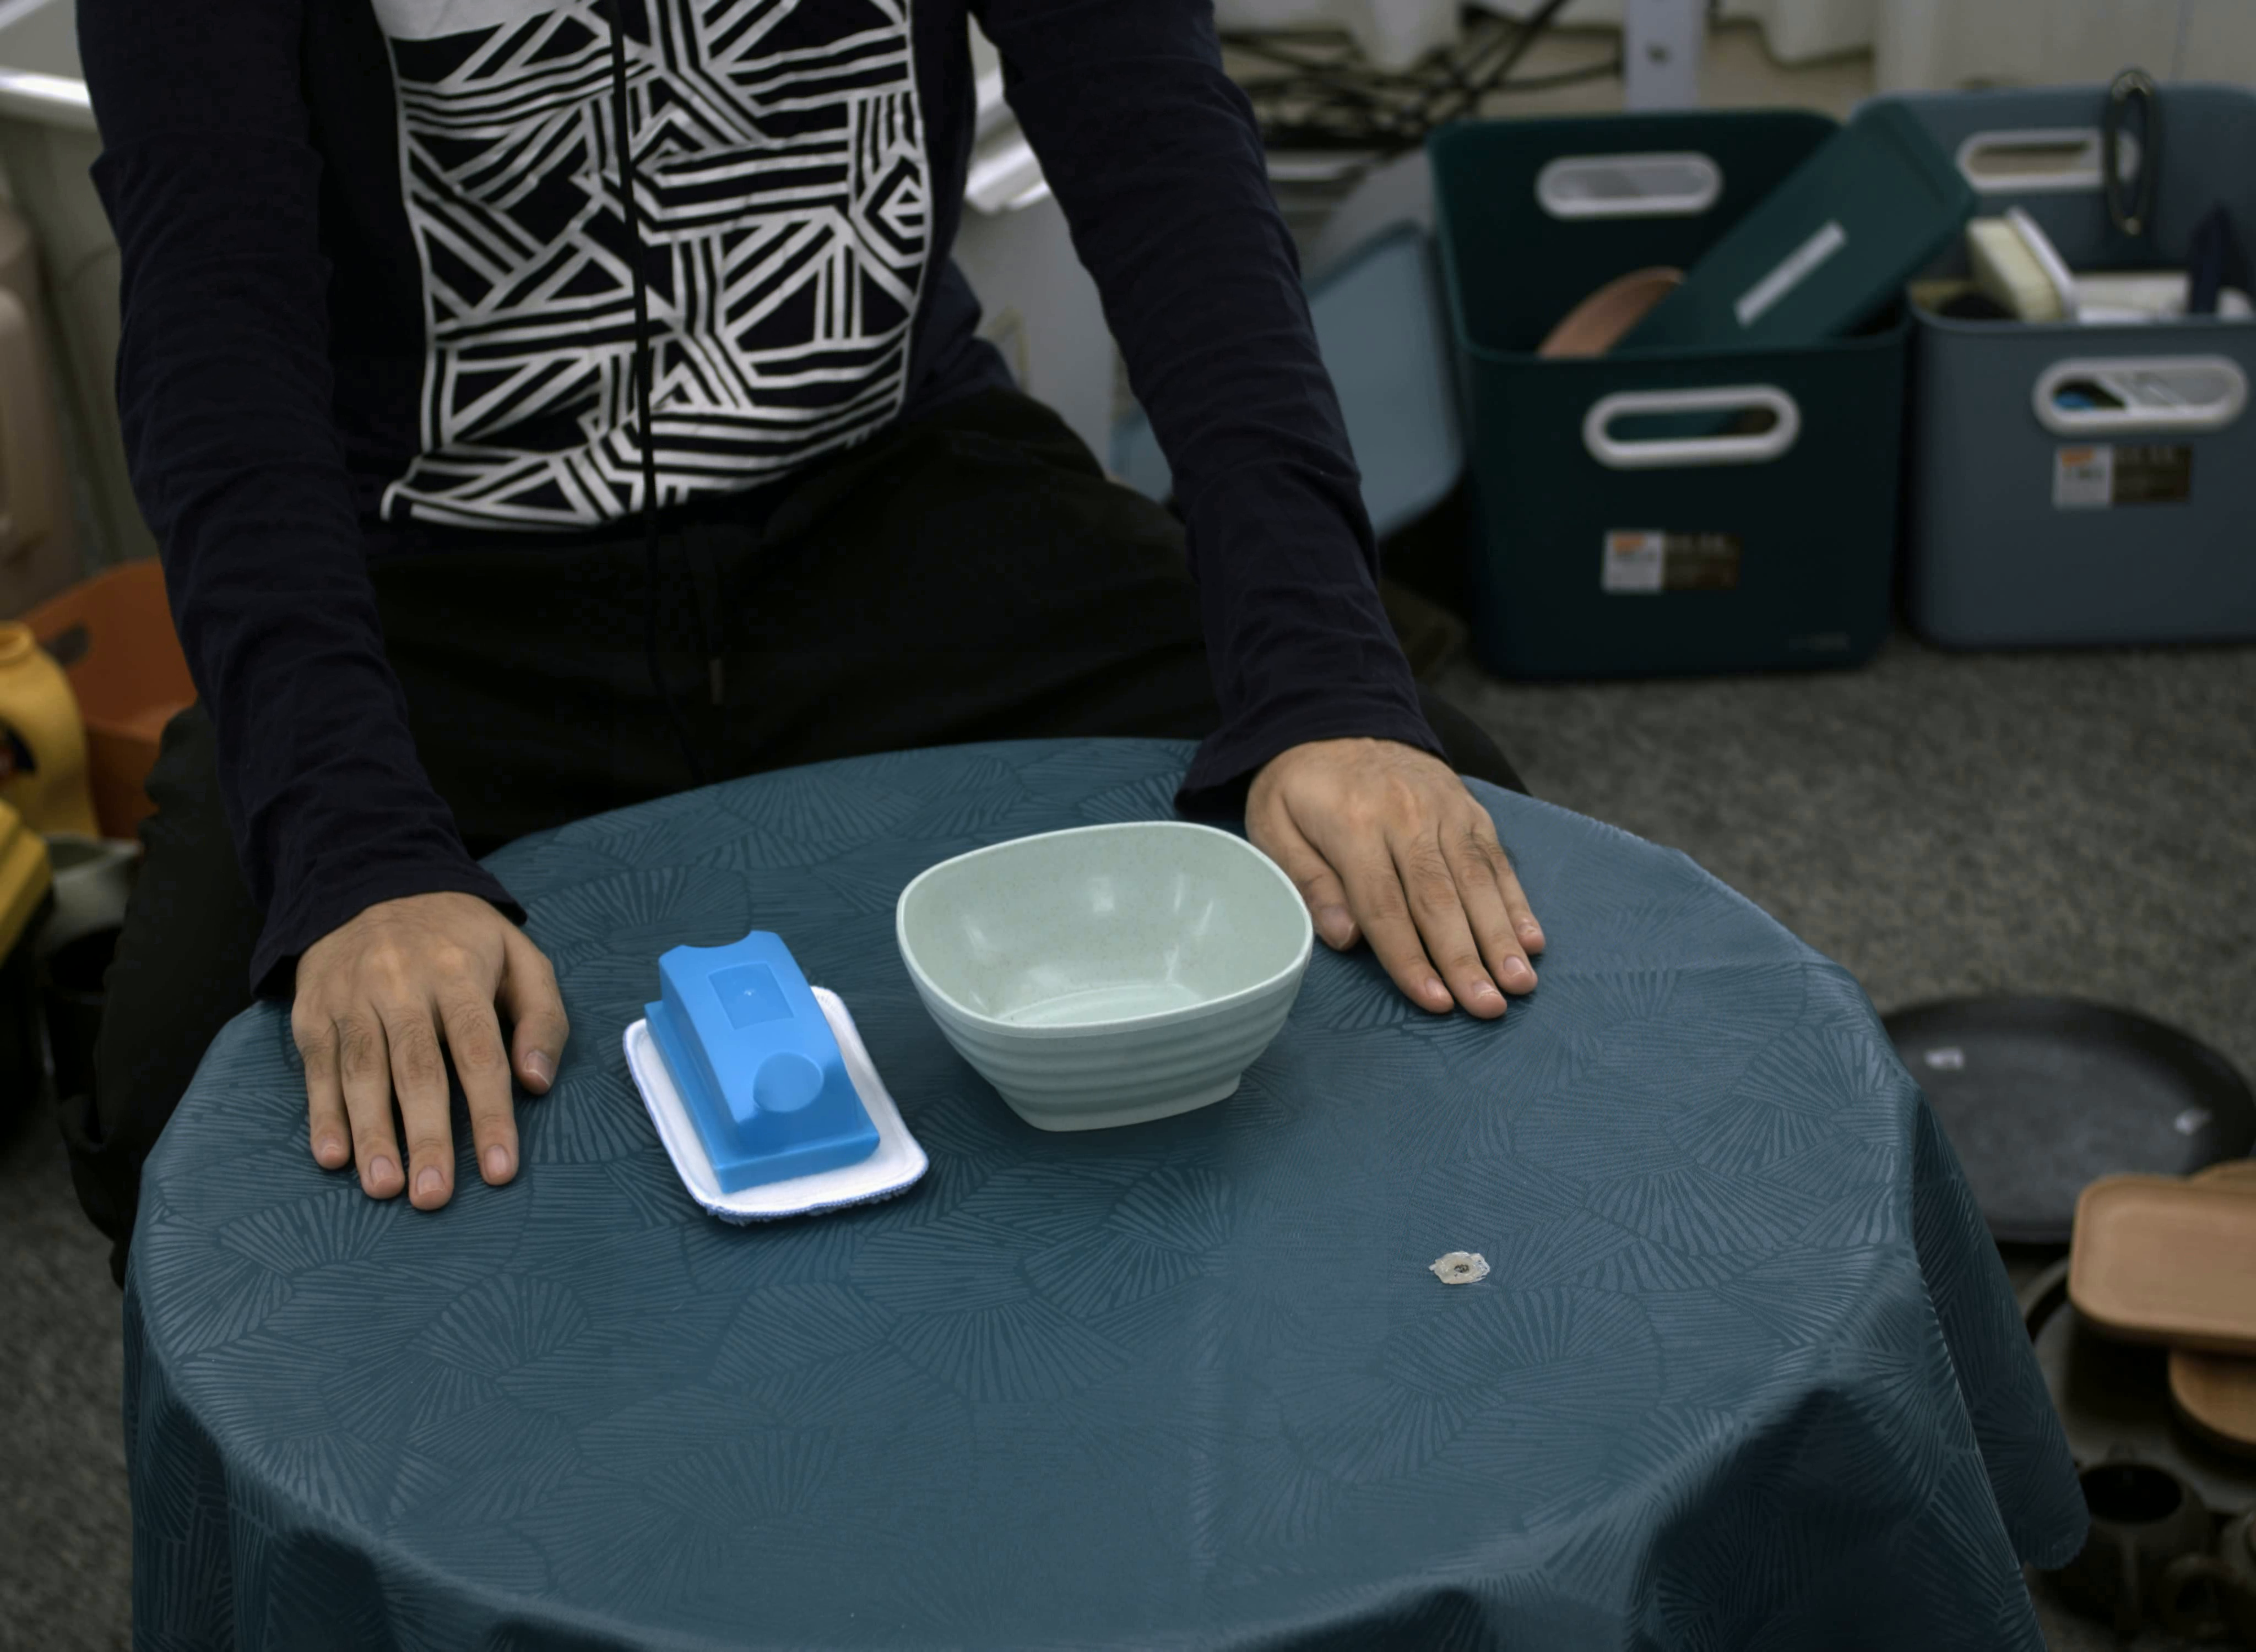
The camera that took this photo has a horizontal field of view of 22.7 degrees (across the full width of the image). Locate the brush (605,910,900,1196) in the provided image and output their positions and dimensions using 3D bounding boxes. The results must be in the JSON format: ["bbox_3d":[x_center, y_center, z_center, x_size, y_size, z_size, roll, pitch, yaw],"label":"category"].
[{"bbox_3d":[-0.127,0.073,1.901,0.084,0.055,0.145,-6,29,-14],"label":"brush"}]

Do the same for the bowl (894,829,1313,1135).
[{"bbox_3d":[-0.009,0.059,1.923,0.151,0.058,0.154,0,26,1],"label":"bowl"}]
